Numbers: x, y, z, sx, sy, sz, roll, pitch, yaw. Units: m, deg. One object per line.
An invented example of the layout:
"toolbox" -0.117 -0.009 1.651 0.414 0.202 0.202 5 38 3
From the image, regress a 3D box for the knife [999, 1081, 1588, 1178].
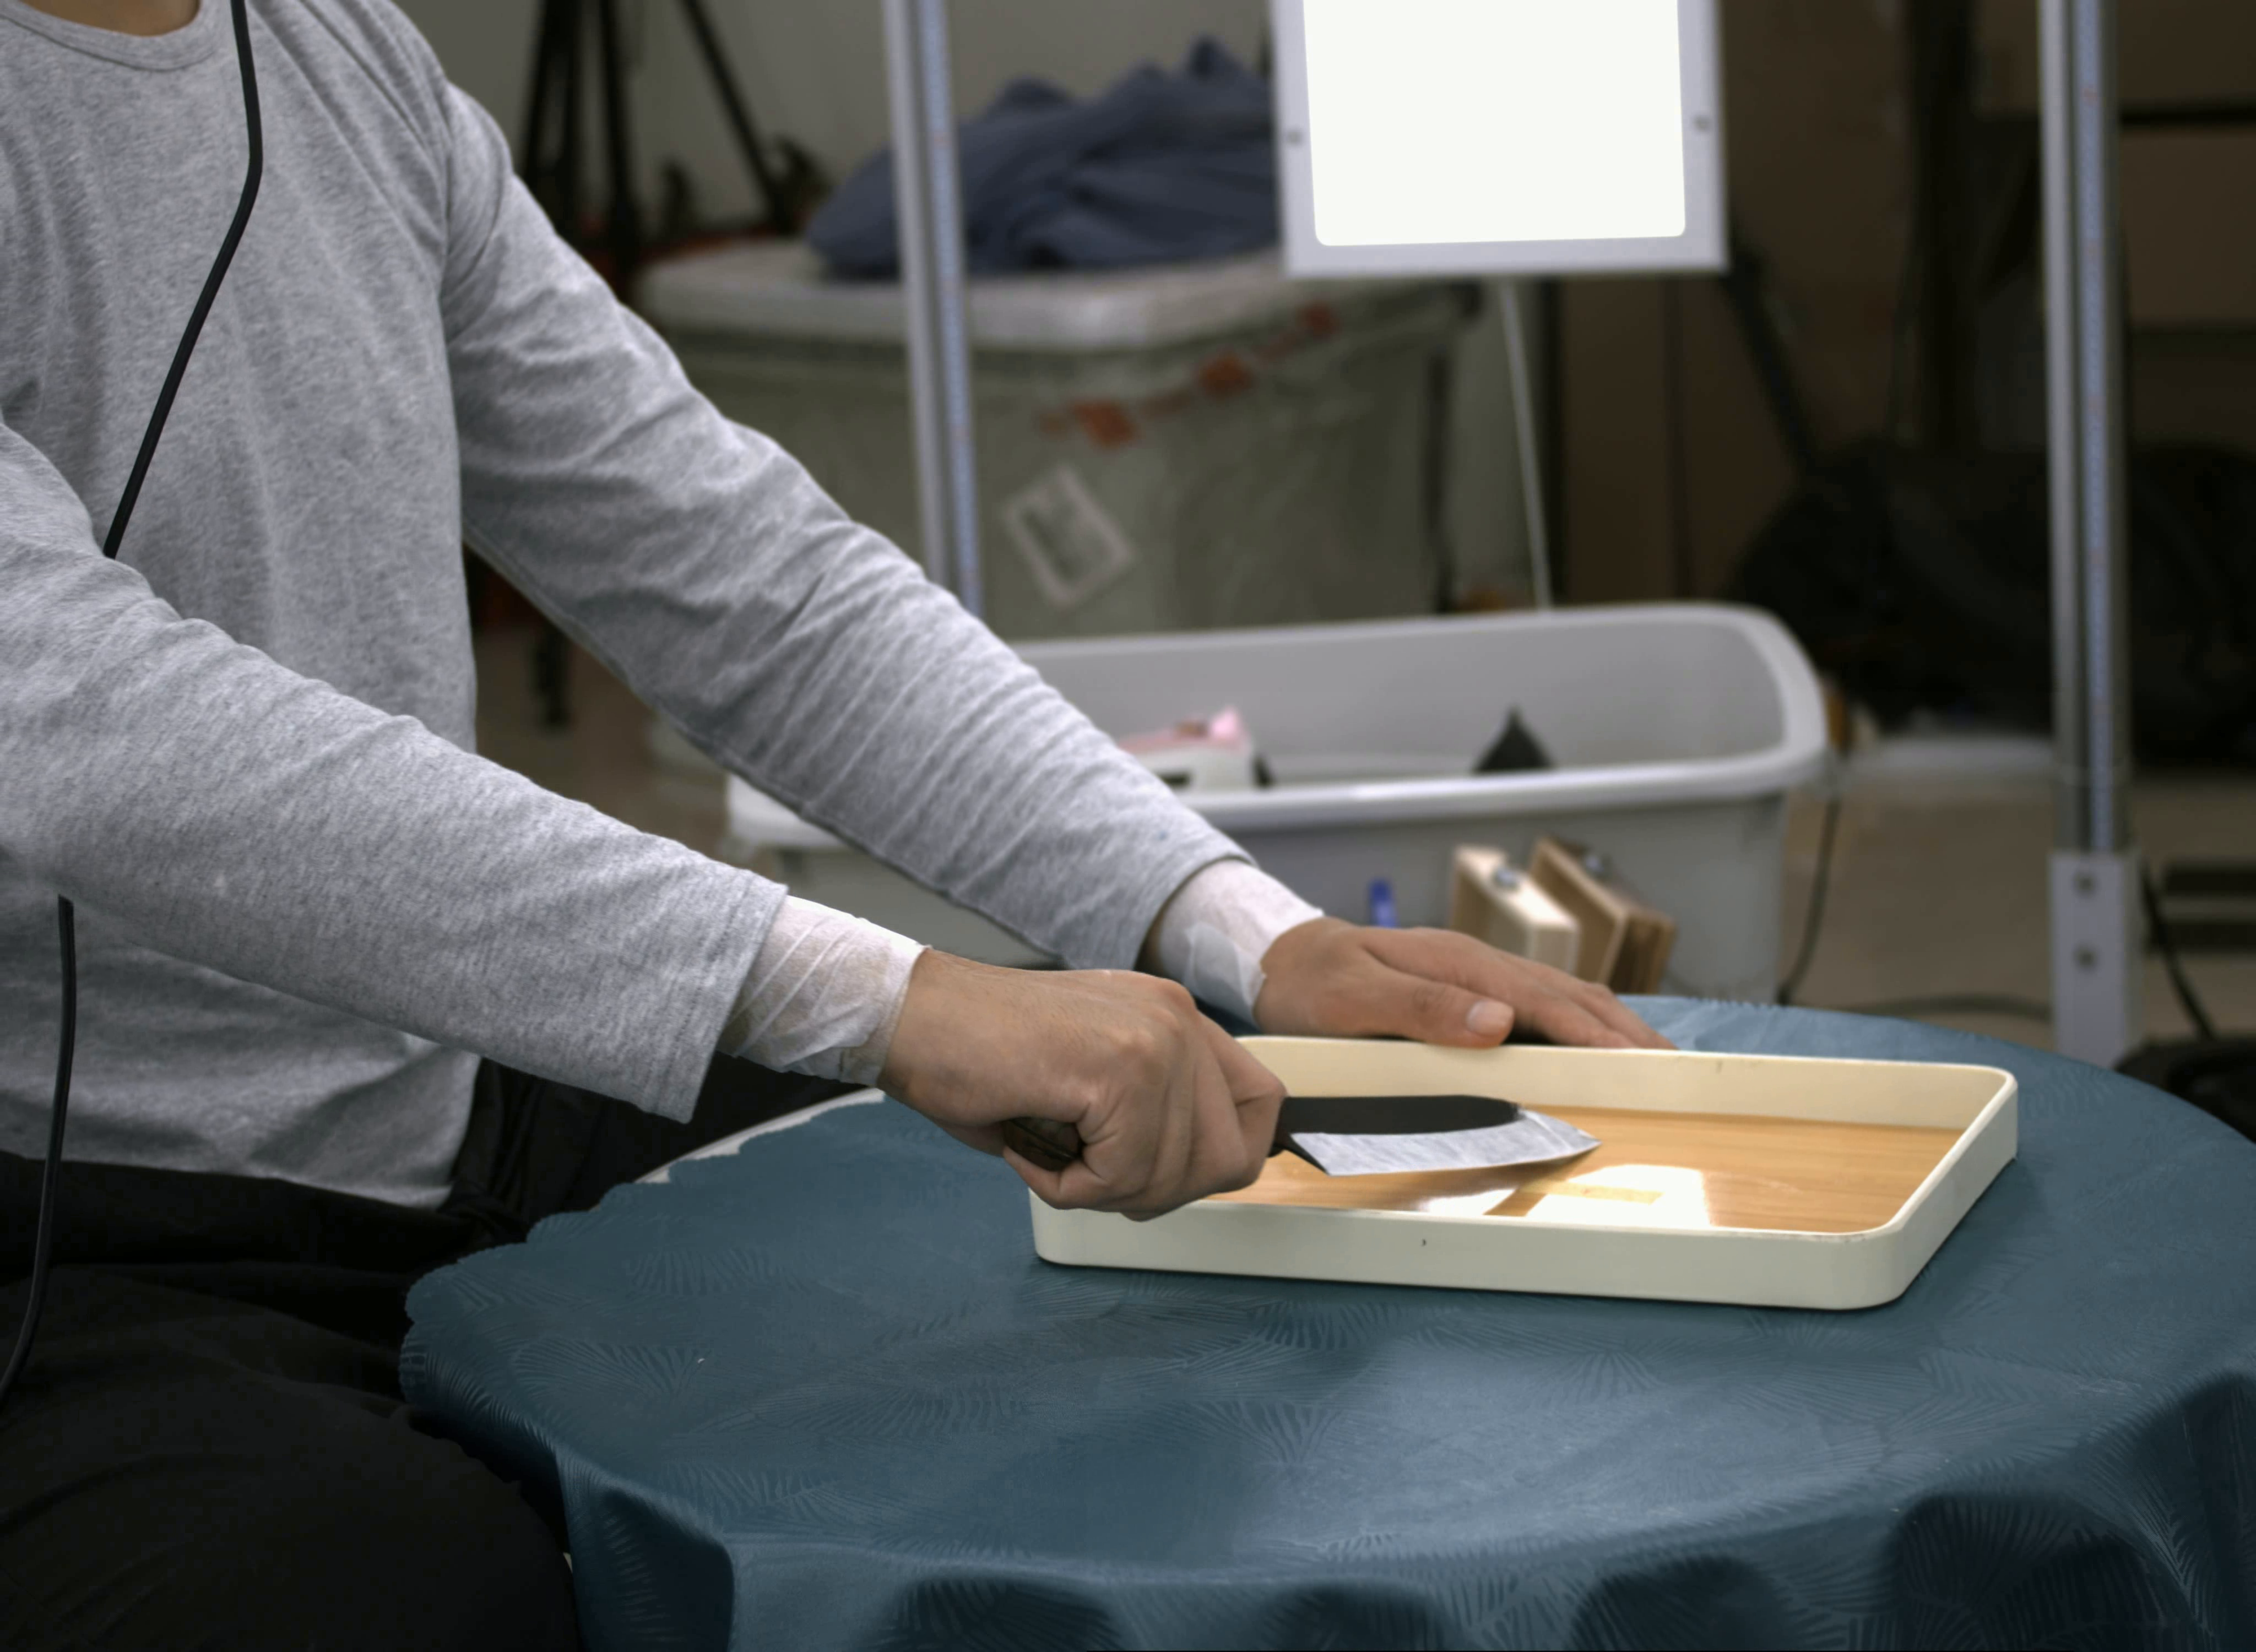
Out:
"knife" 0.061 0.099 1.791 0.282 0.020 0.051 4 31 -47

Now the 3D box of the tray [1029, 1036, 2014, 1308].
"tray" 0.136 0.114 1.849 0.305 0.027 0.188 1 15 25
